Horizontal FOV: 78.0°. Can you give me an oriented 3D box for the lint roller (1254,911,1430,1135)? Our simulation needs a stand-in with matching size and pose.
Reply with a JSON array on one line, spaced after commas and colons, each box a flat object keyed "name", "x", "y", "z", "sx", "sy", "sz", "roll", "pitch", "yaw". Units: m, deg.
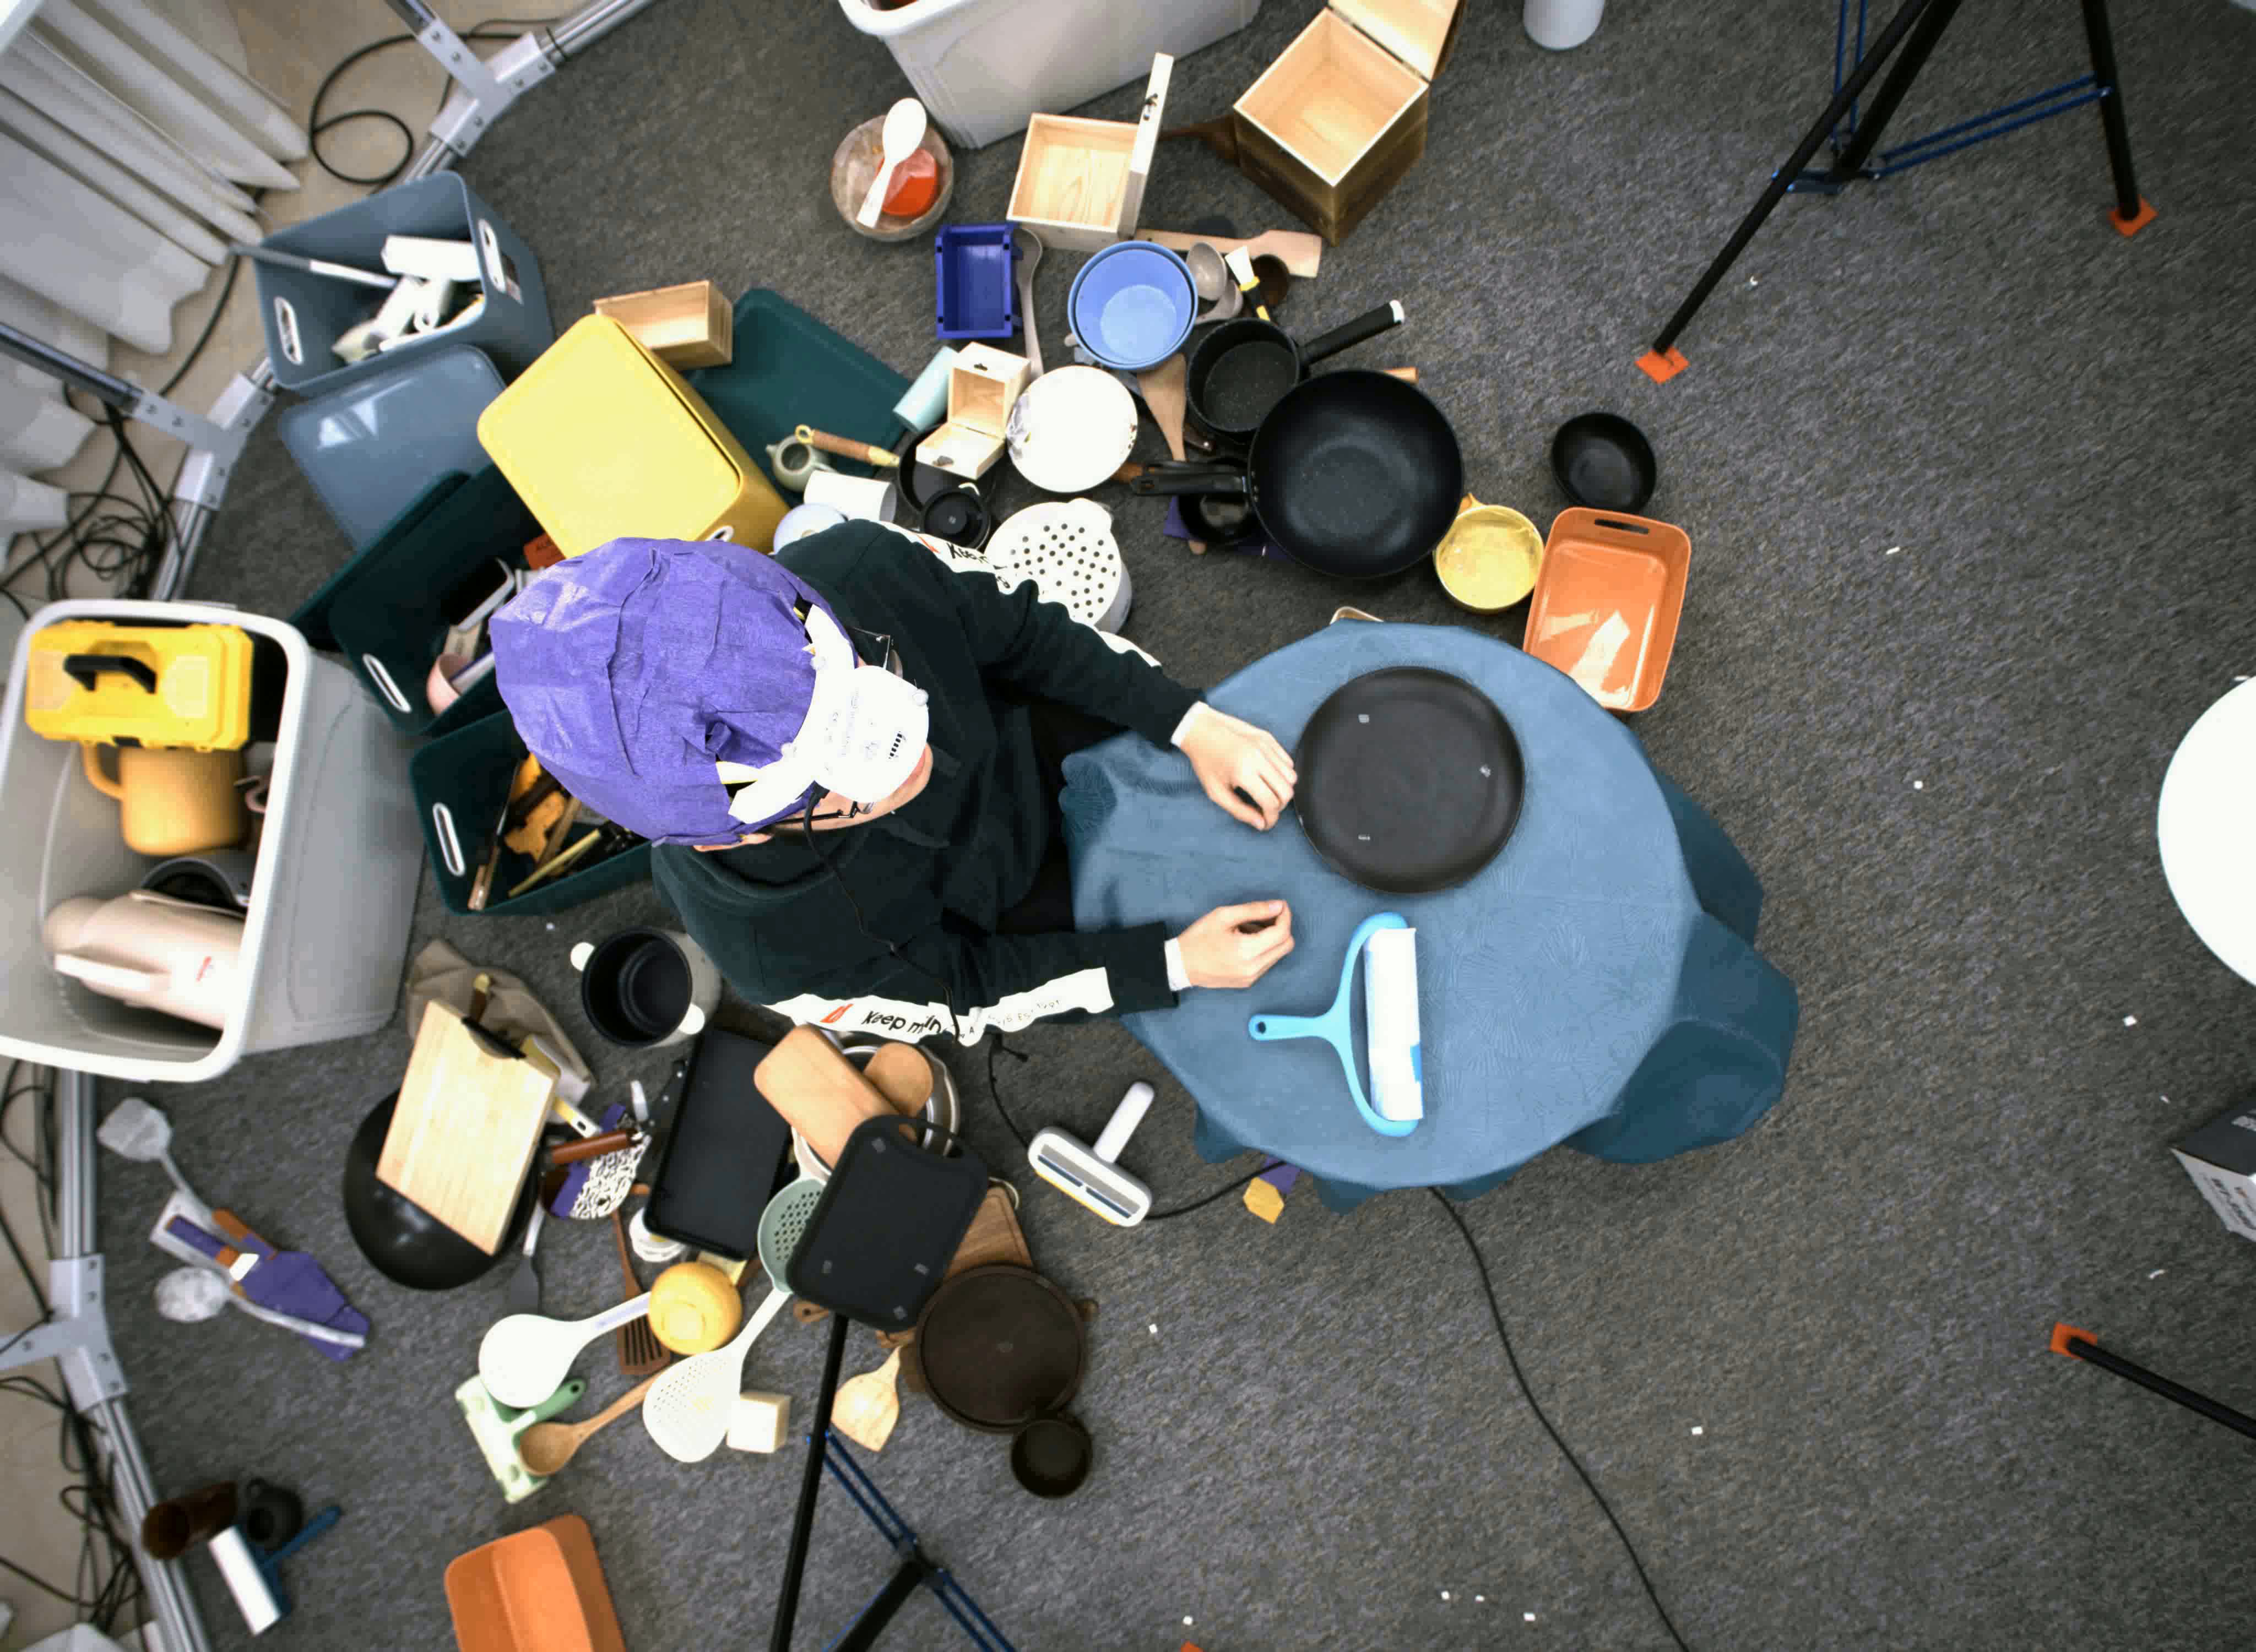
[{"name": "lint roller", "x": 0.217, "y": 0.207, "z": 1.430, "sx": 0.181, "sy": 0.068, "sz": 0.228, "roll": -6, "pitch": 86, "yaw": 11}]

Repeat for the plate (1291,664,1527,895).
[{"name": "plate", "x": 0.293, "y": -0.050, "z": 1.446, "sx": 0.245, "sy": 0.023, "sz": 0.243, "roll": -1, "pitch": 87, "yaw": 11}]
